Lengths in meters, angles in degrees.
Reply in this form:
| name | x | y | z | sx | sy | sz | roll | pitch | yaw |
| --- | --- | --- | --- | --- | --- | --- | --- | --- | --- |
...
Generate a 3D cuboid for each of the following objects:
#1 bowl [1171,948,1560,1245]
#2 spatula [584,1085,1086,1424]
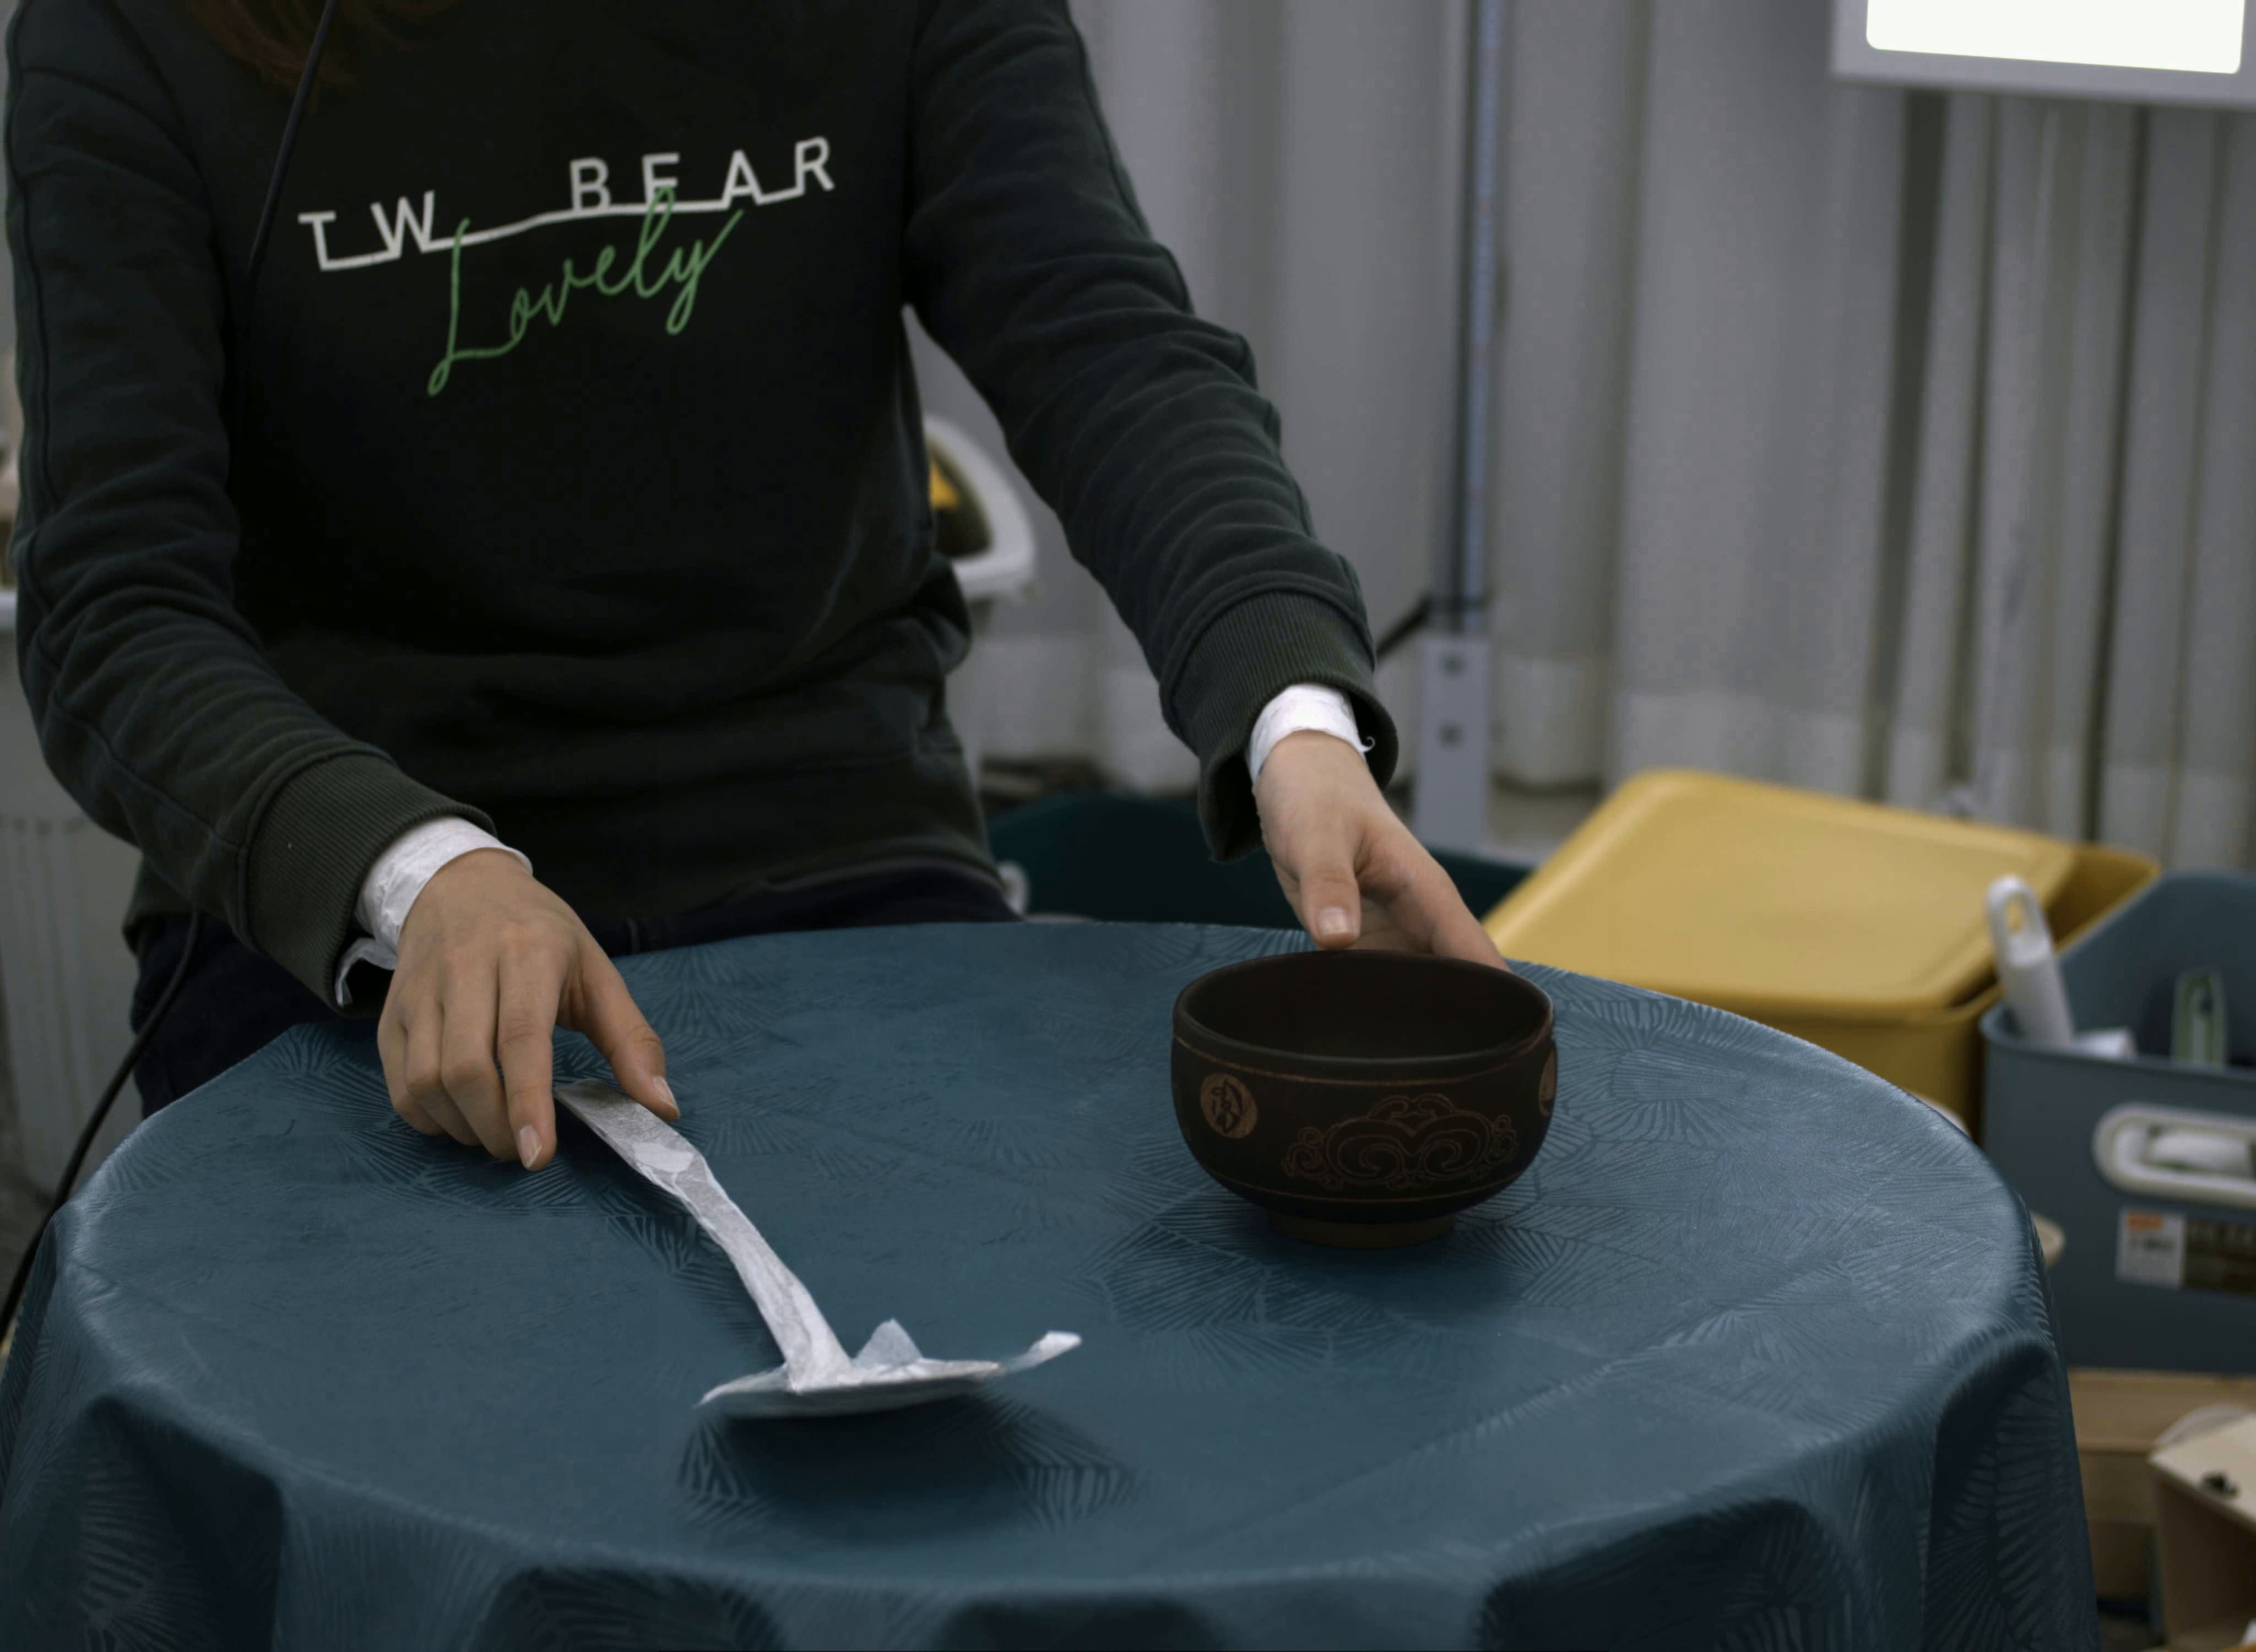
| name | x | y | z | sx | sy | sz | roll | pitch | yaw |
| --- | --- | --- | --- | --- | --- | --- | --- | --- | --- |
| bowl | 0.071 | 0.085 | 1.594 | 0.117 | 0.070 | 0.117 | 2 | 15 | 0 |
| spatula | -0.111 | 0.116 | 1.540 | 0.099 | 0.045 | 0.361 | -7 | 18 | -19 |
